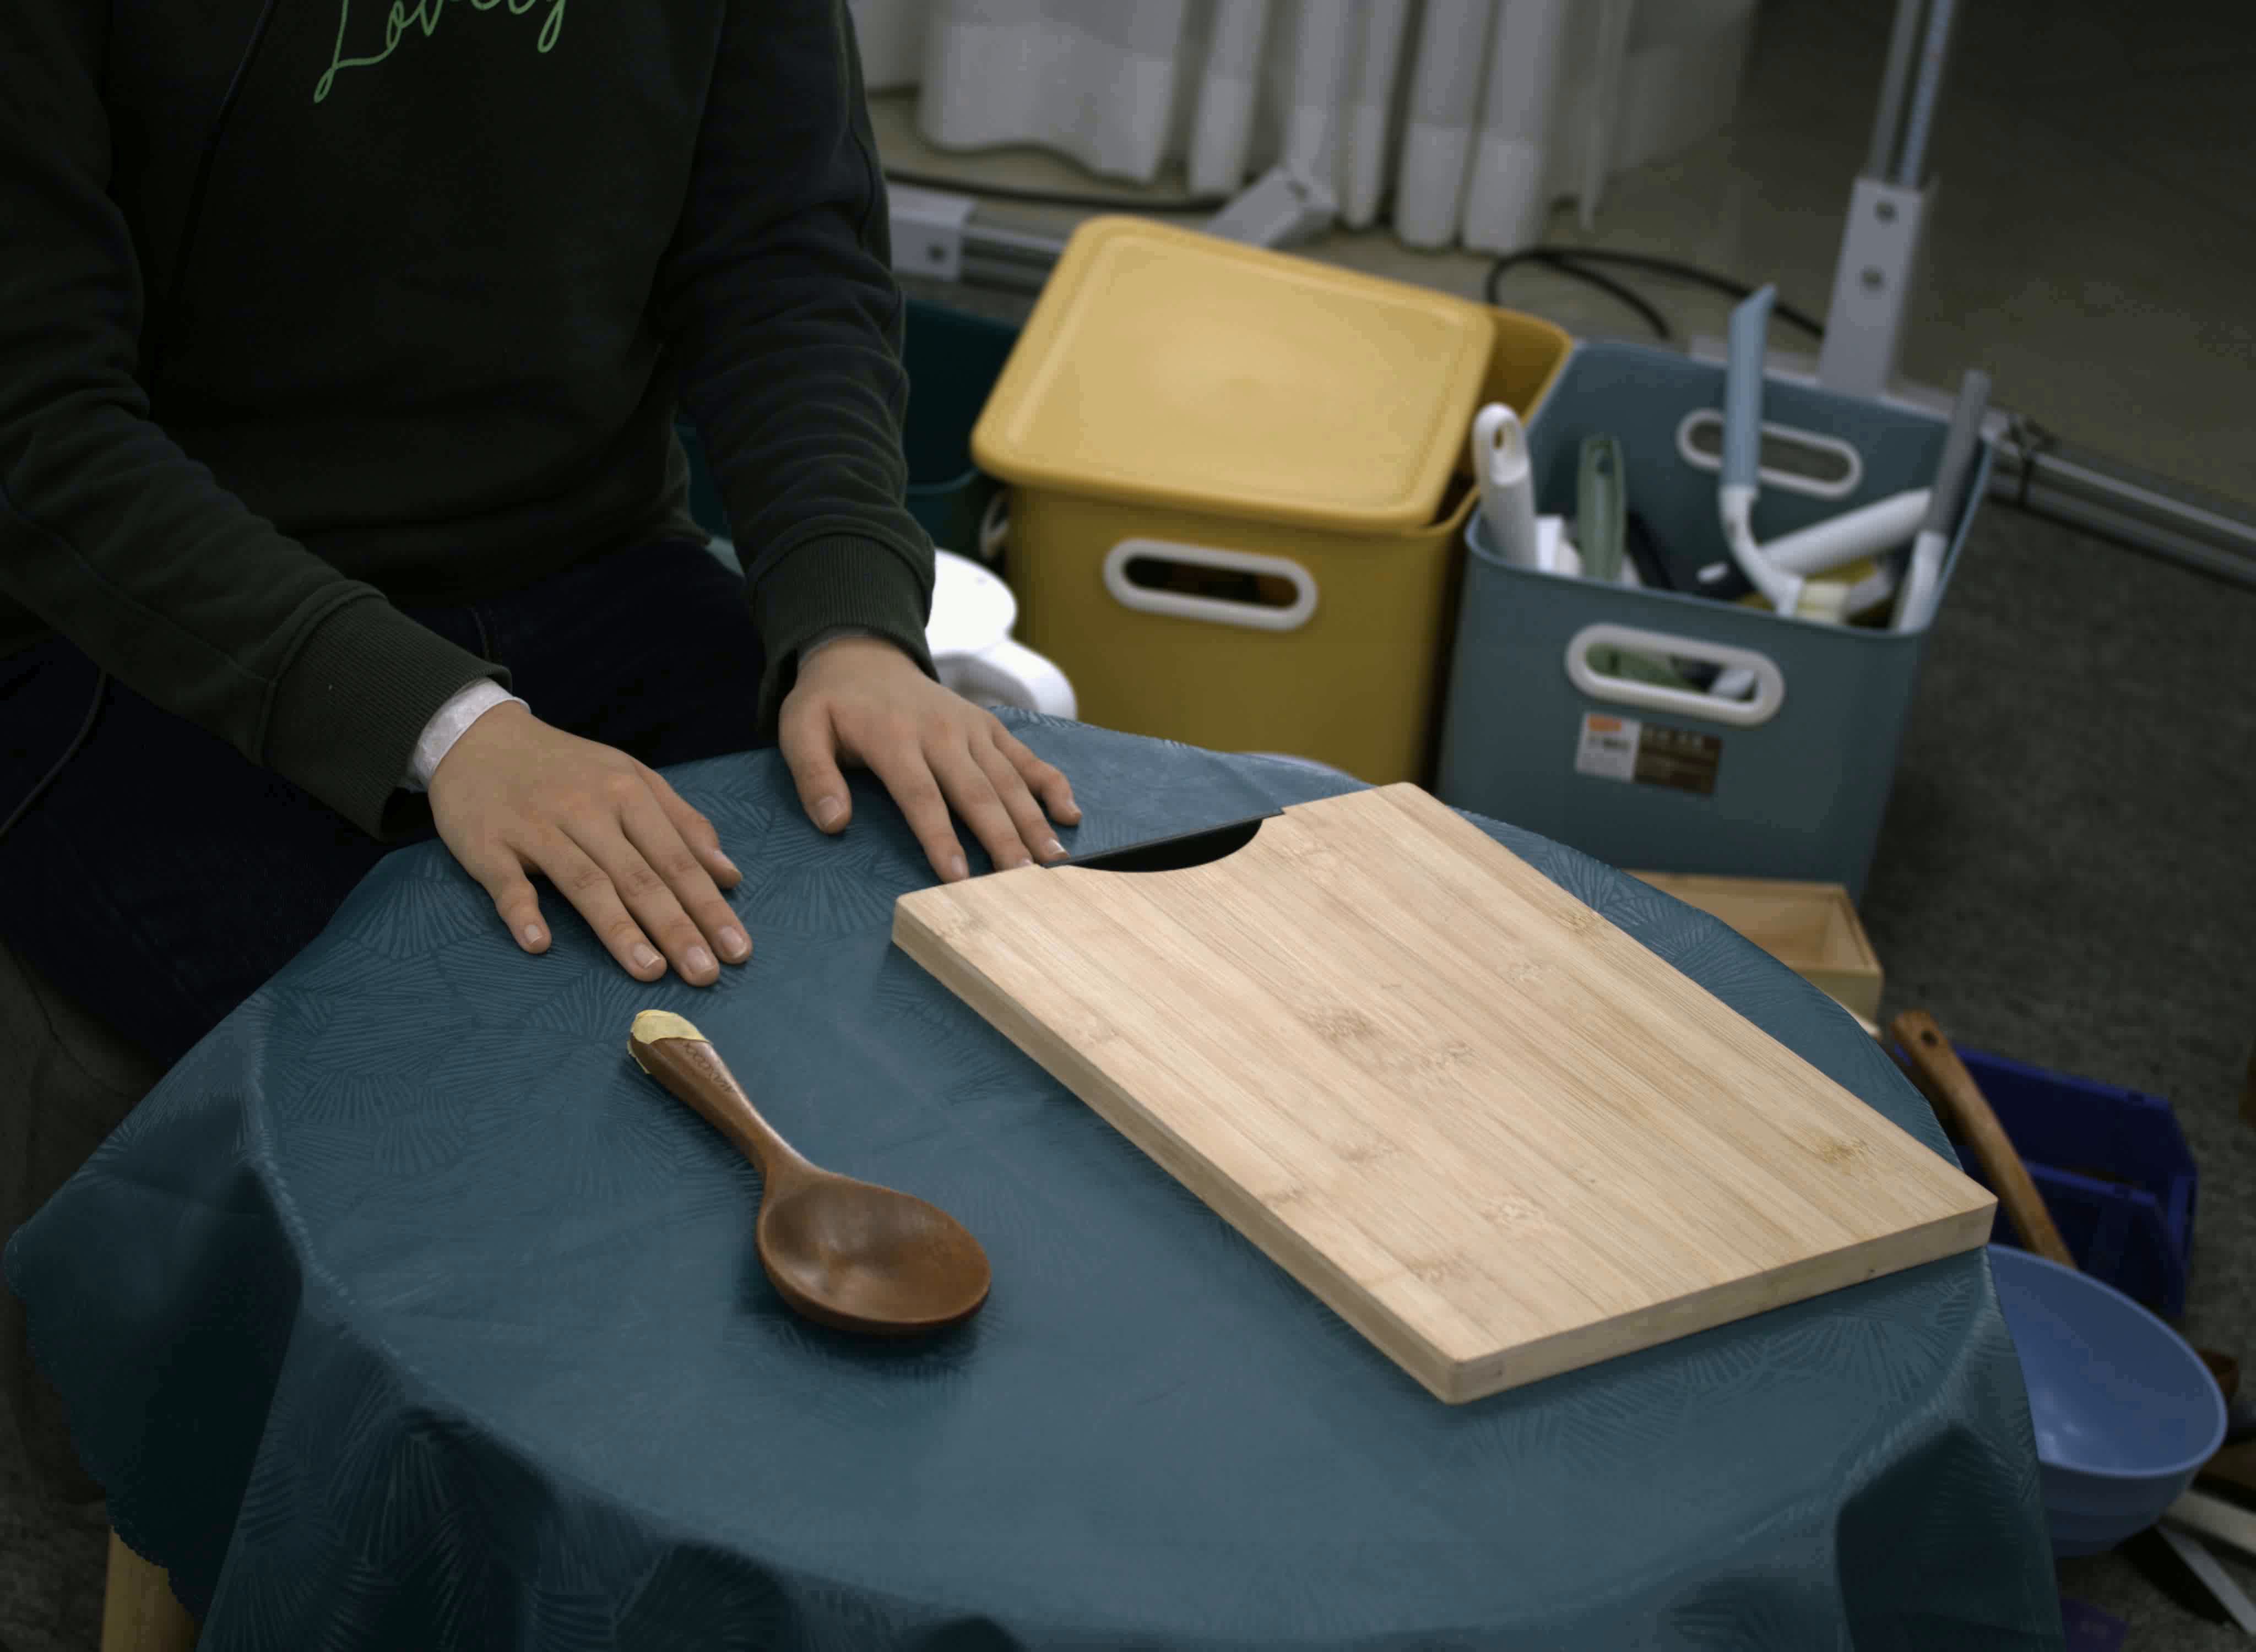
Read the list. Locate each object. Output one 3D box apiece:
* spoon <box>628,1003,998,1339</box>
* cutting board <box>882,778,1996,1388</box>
[{"bbox_3d":[-0.113,0.115,1.772,0.075,0.017,0.218,-11,32,-28],"label":"spoon"},{"bbox_3d":[0.103,0.083,1.886,0.249,0.023,0.352,-12,32,-34],"label":"cutting board"}]
